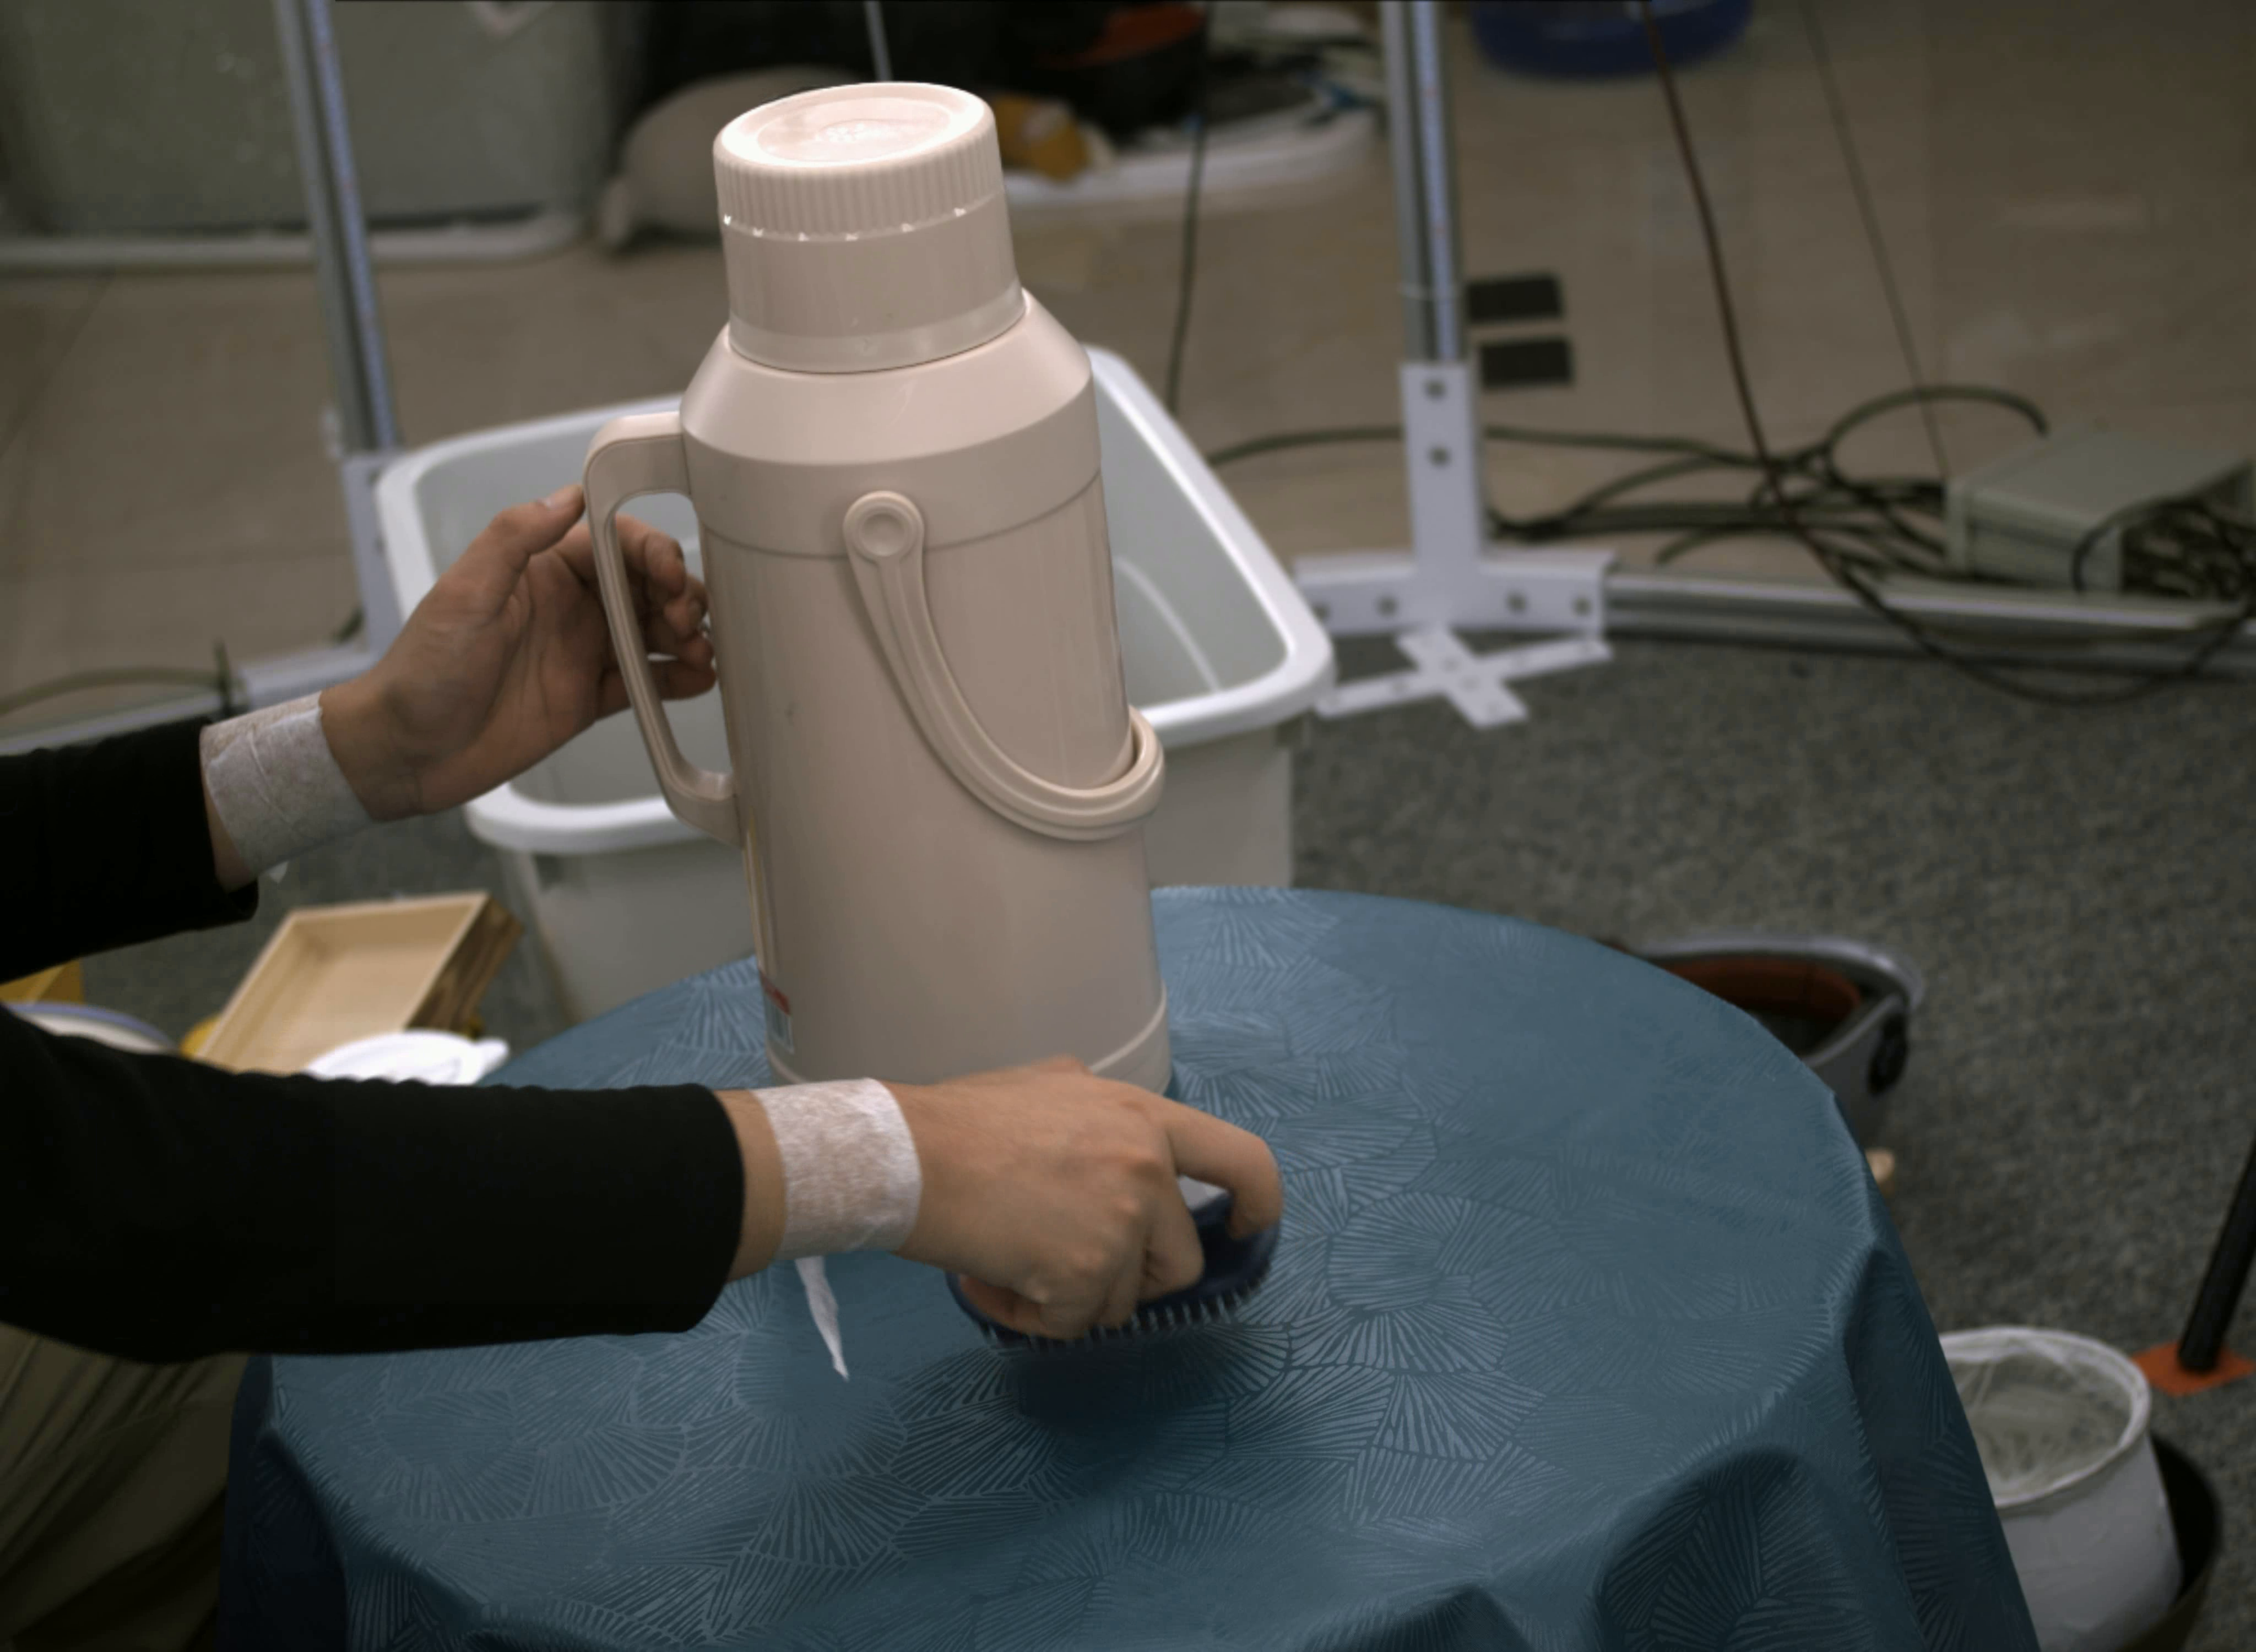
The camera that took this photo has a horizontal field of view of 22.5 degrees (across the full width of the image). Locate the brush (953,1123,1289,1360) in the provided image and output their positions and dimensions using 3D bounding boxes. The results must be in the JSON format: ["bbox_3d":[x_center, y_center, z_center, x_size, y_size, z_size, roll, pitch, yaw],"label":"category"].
[{"bbox_3d":[-0.003,0.150,2.018,0.121,0.062,0.066,-9,41,2],"label":"brush"}]

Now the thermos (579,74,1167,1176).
[{"bbox_3d":[-0.096,-0.076,2.156,0.207,0.413,0.172,-5,27,2],"label":"thermos"}]
